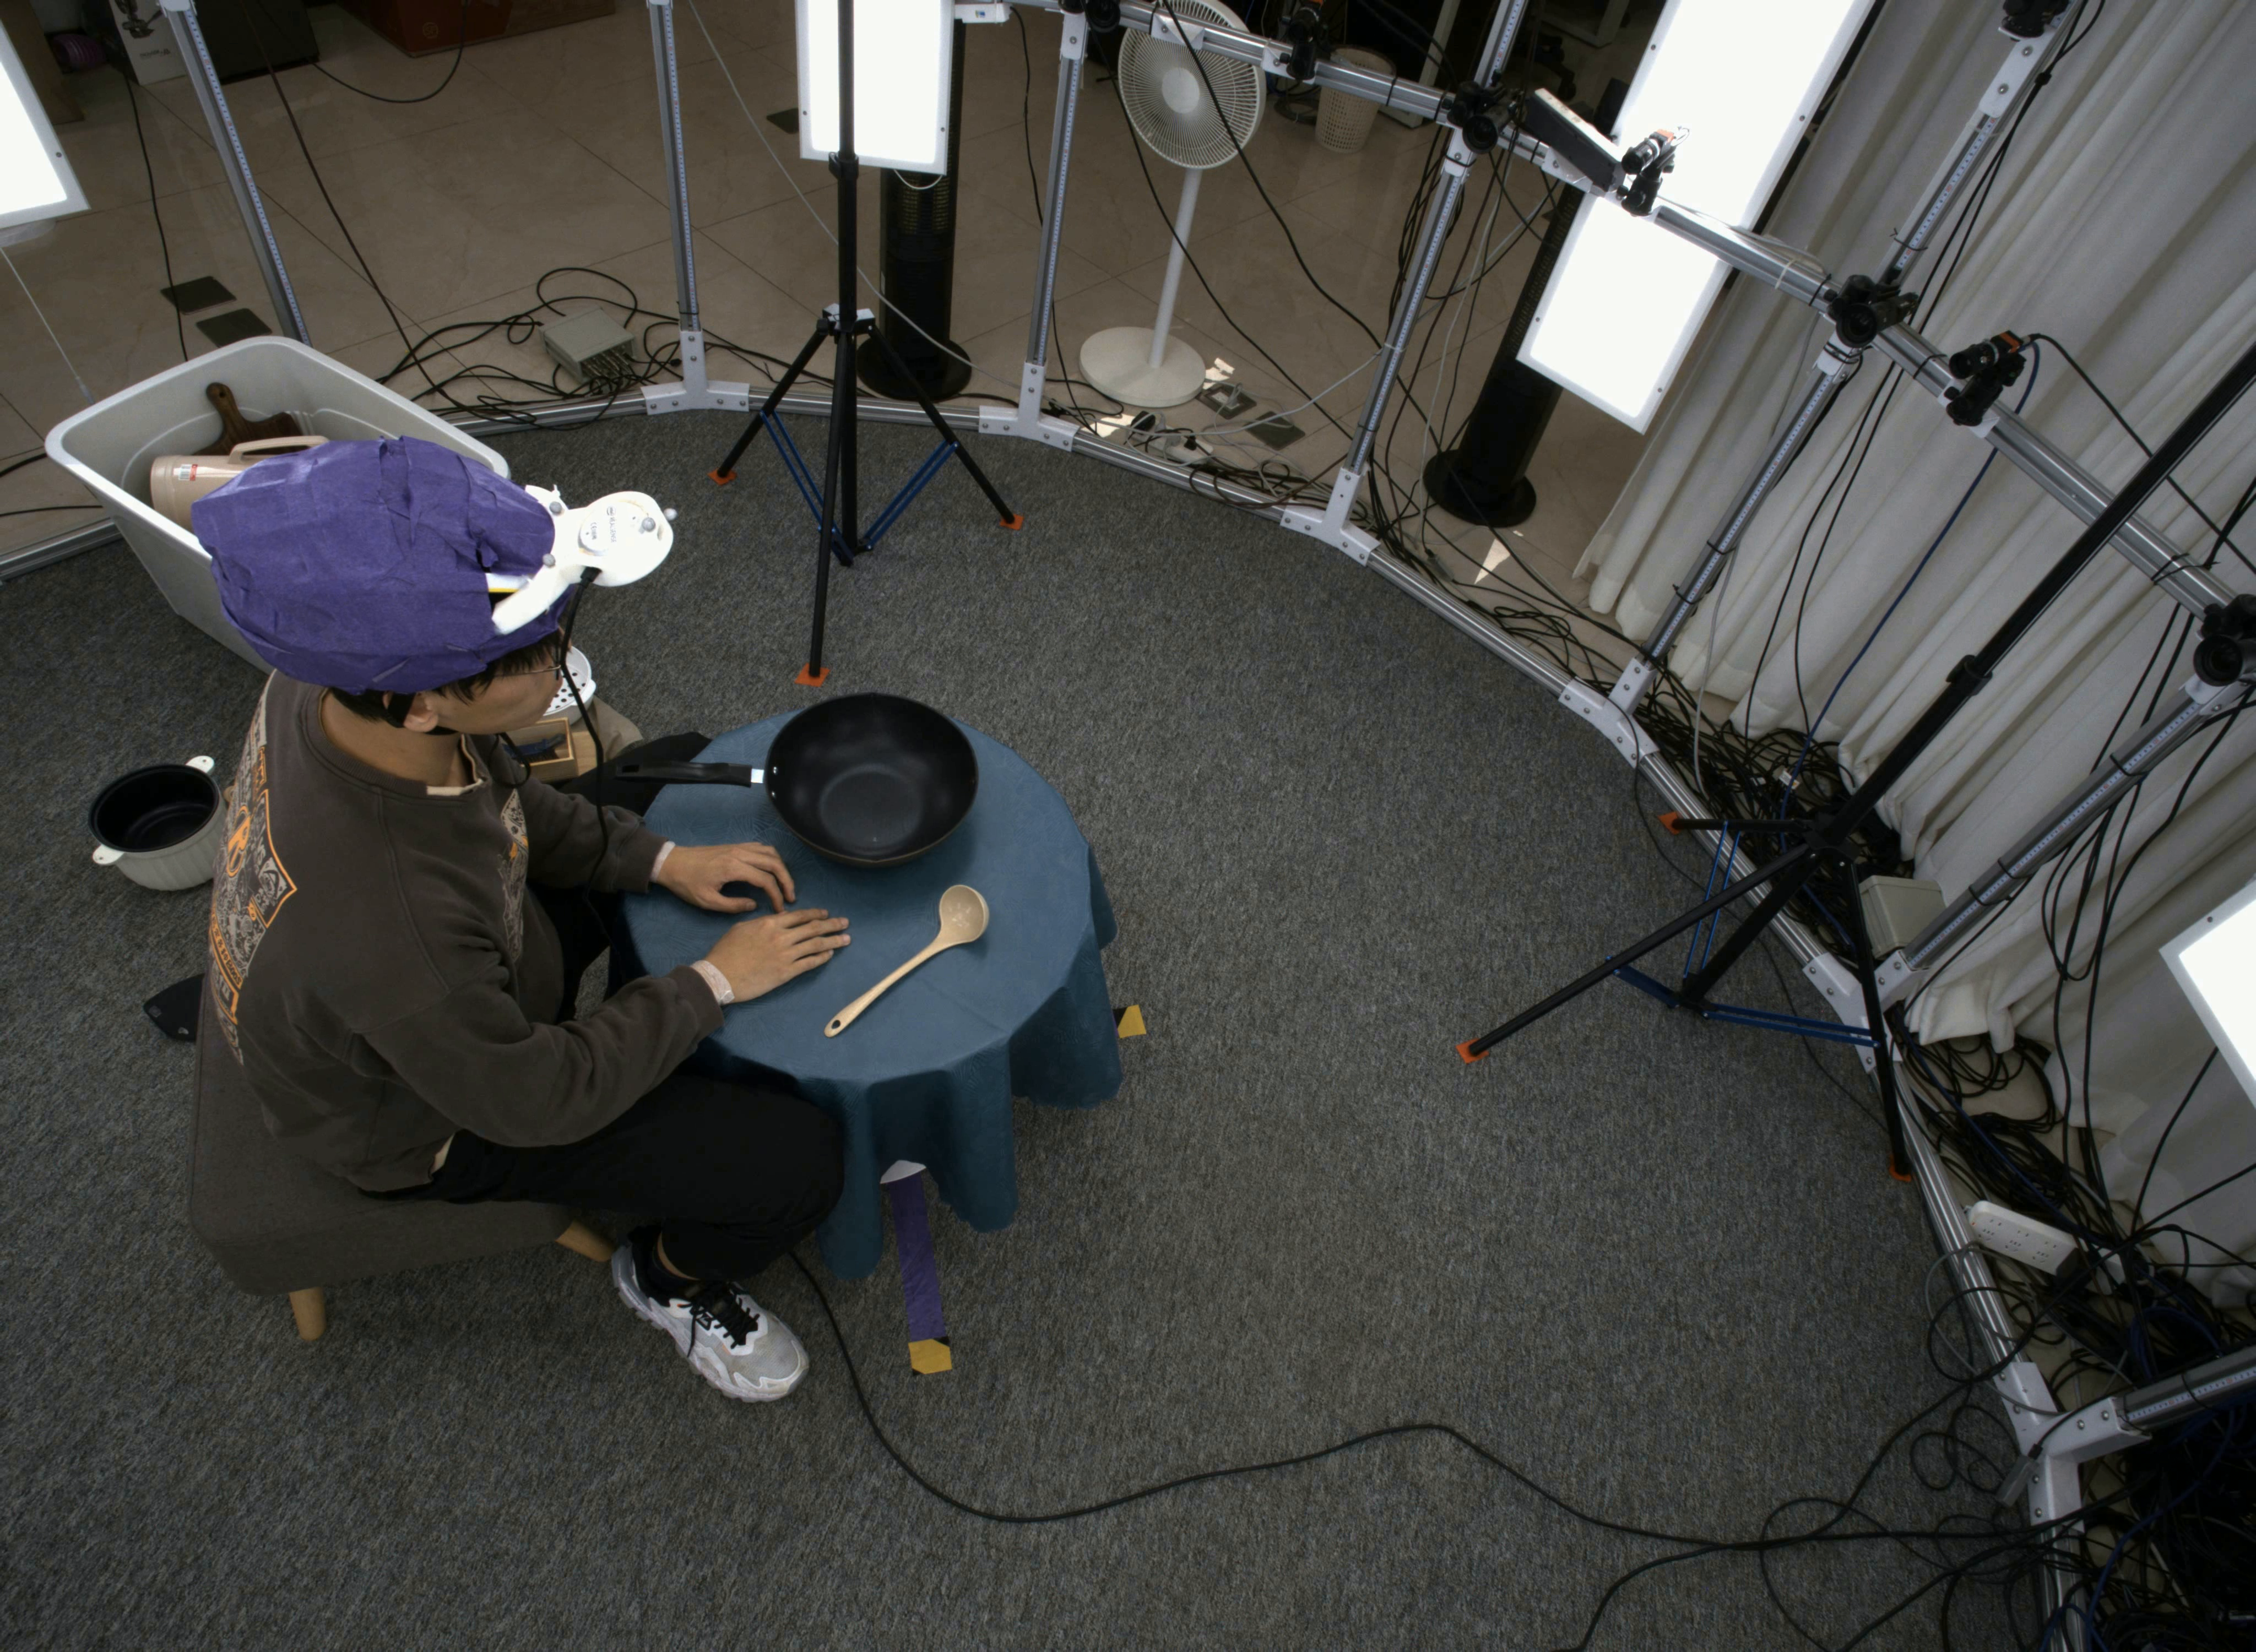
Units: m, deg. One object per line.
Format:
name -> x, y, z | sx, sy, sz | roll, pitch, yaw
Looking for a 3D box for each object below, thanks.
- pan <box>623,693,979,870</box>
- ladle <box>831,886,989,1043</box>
pan -> -0.429, -0.046, 1.718 | 0.463, 0.089, 0.282 | 0, 55, -12
ladle -> -0.271, 0.165, 1.608 | 0.071, 0.074, 0.254 | 40, 55, 12
